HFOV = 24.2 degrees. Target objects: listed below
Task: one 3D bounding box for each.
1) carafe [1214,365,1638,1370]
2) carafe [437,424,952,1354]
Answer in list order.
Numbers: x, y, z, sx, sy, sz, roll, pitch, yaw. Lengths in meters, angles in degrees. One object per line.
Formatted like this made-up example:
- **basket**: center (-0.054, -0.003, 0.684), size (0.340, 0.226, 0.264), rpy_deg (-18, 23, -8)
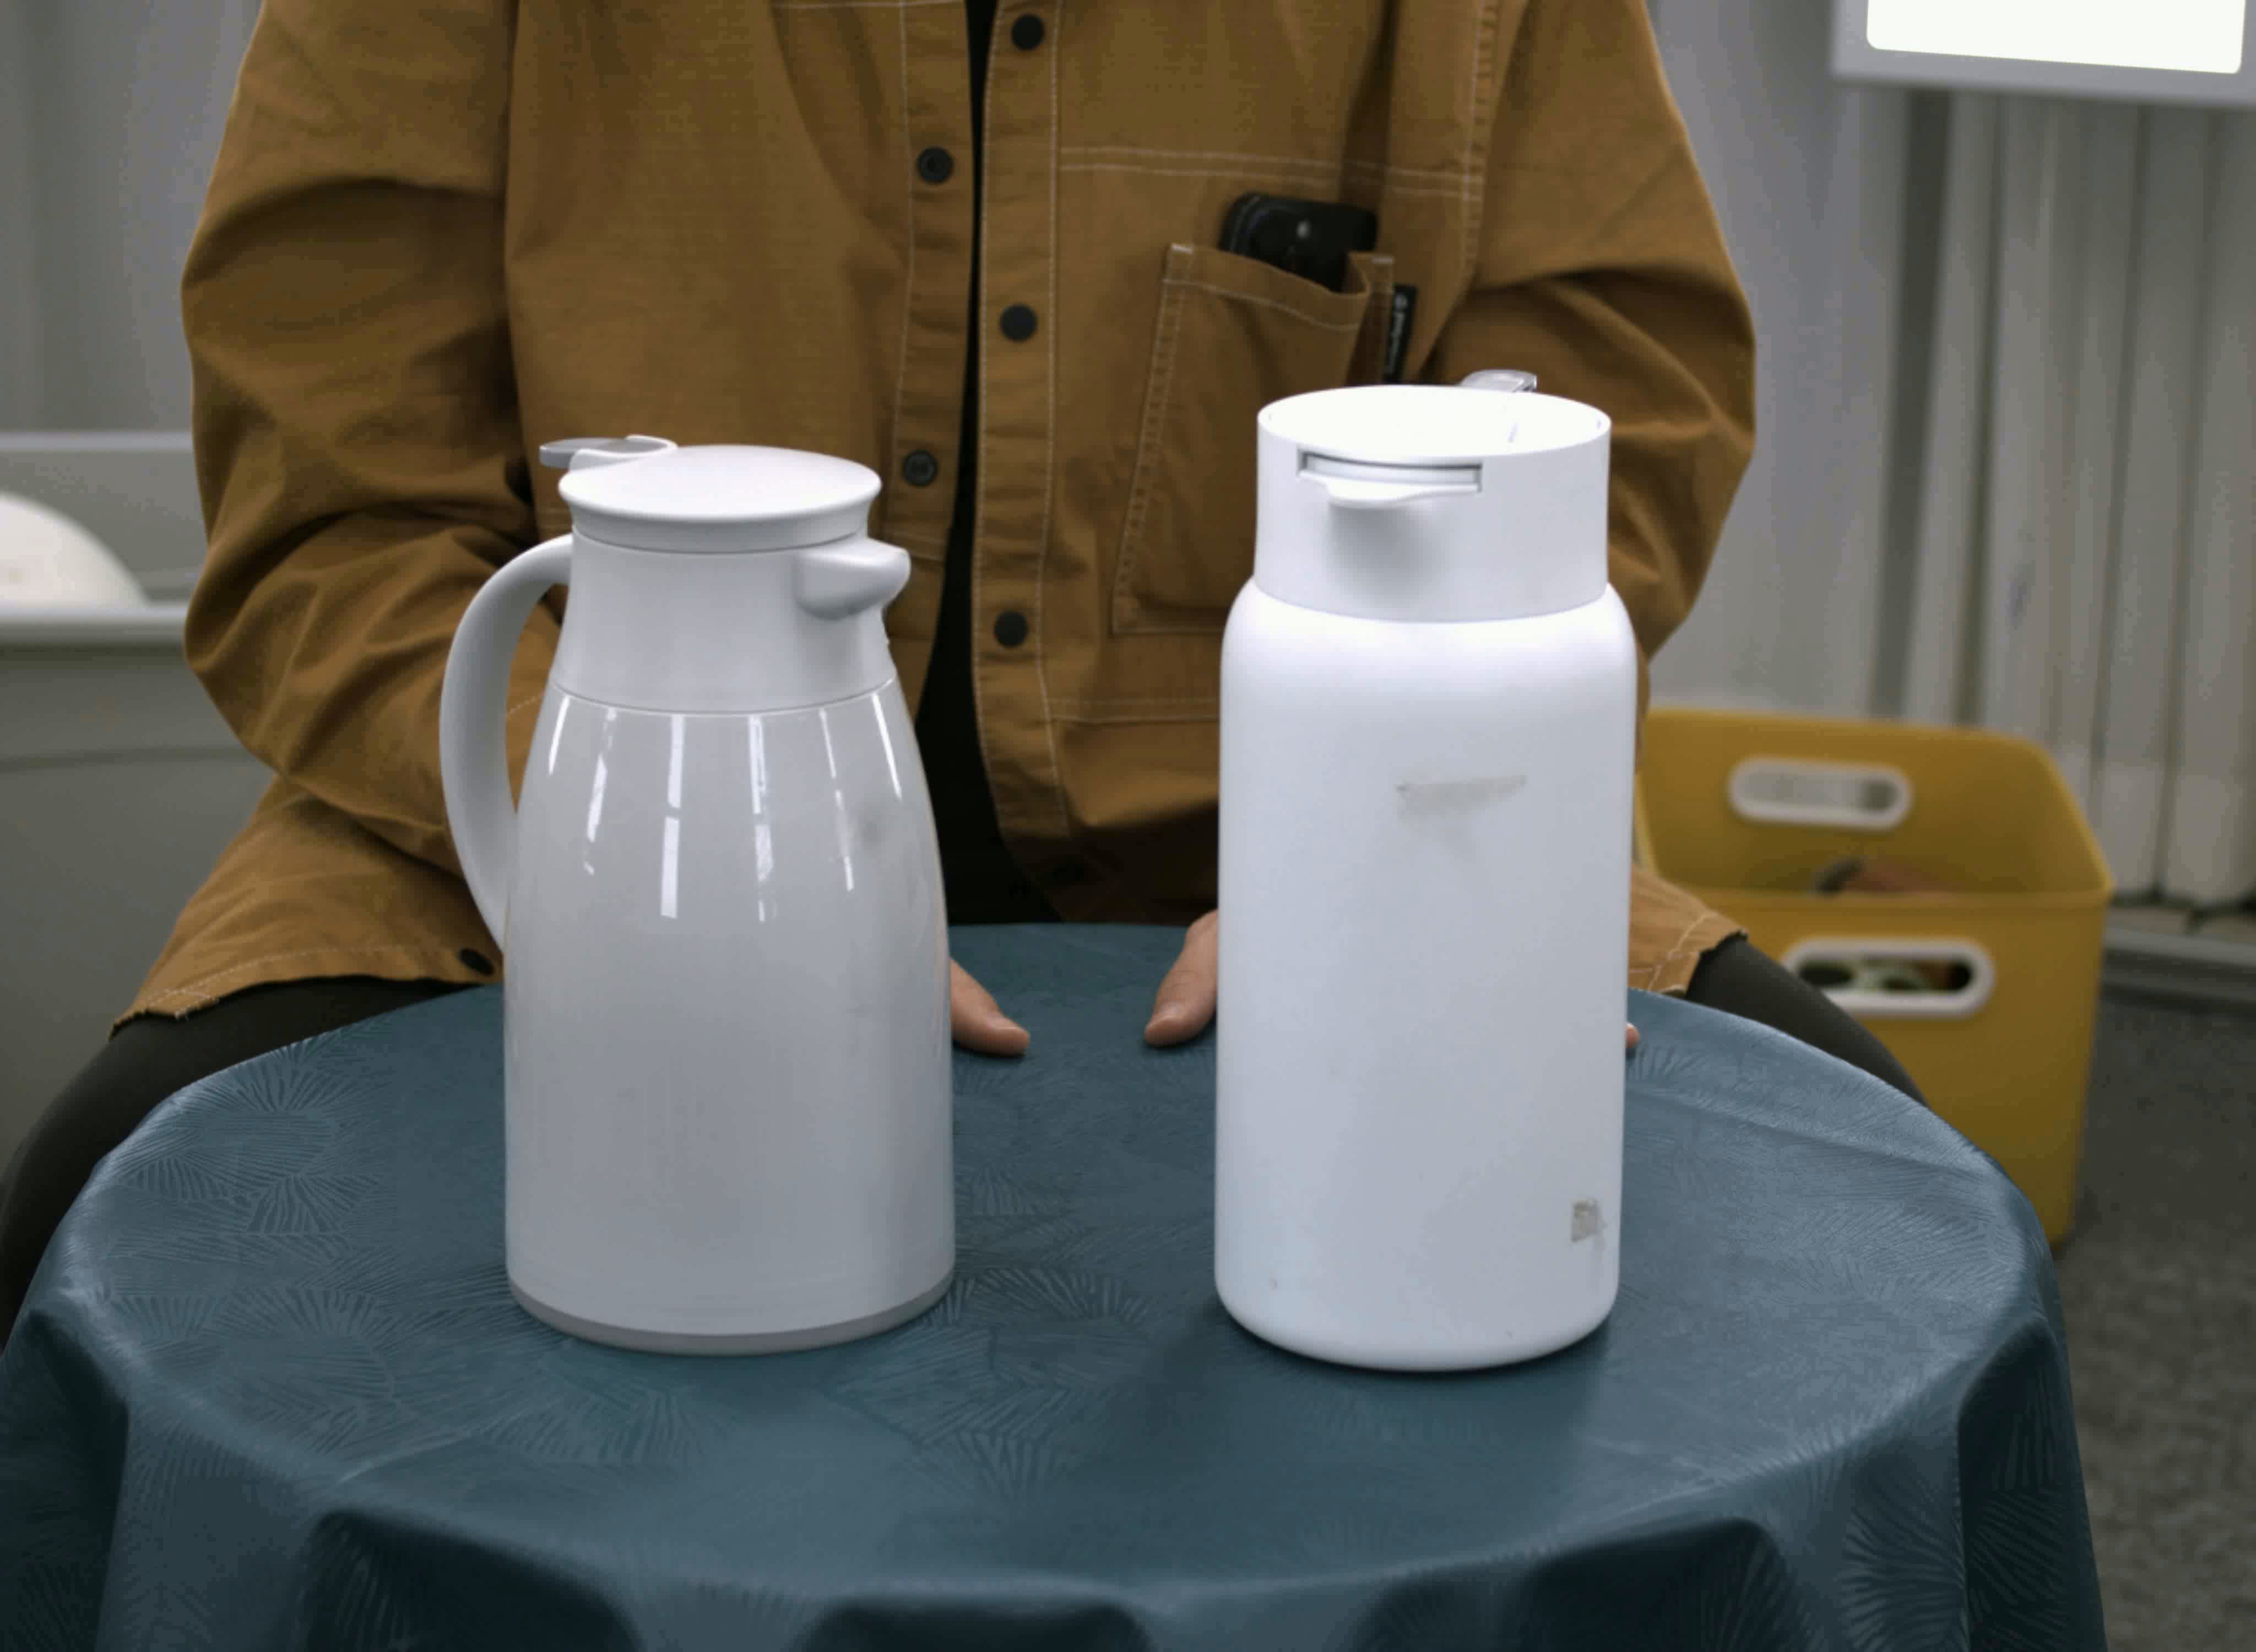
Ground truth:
- **carafe**: center (0.088, 0.007, 1.502), size (0.123, 0.271, 0.173), rpy_deg (4, 16, 19)
- **carafe**: center (-0.132, 0.010, 1.520), size (0.165, 0.250, 0.133), rpy_deg (10, 19, 34)
